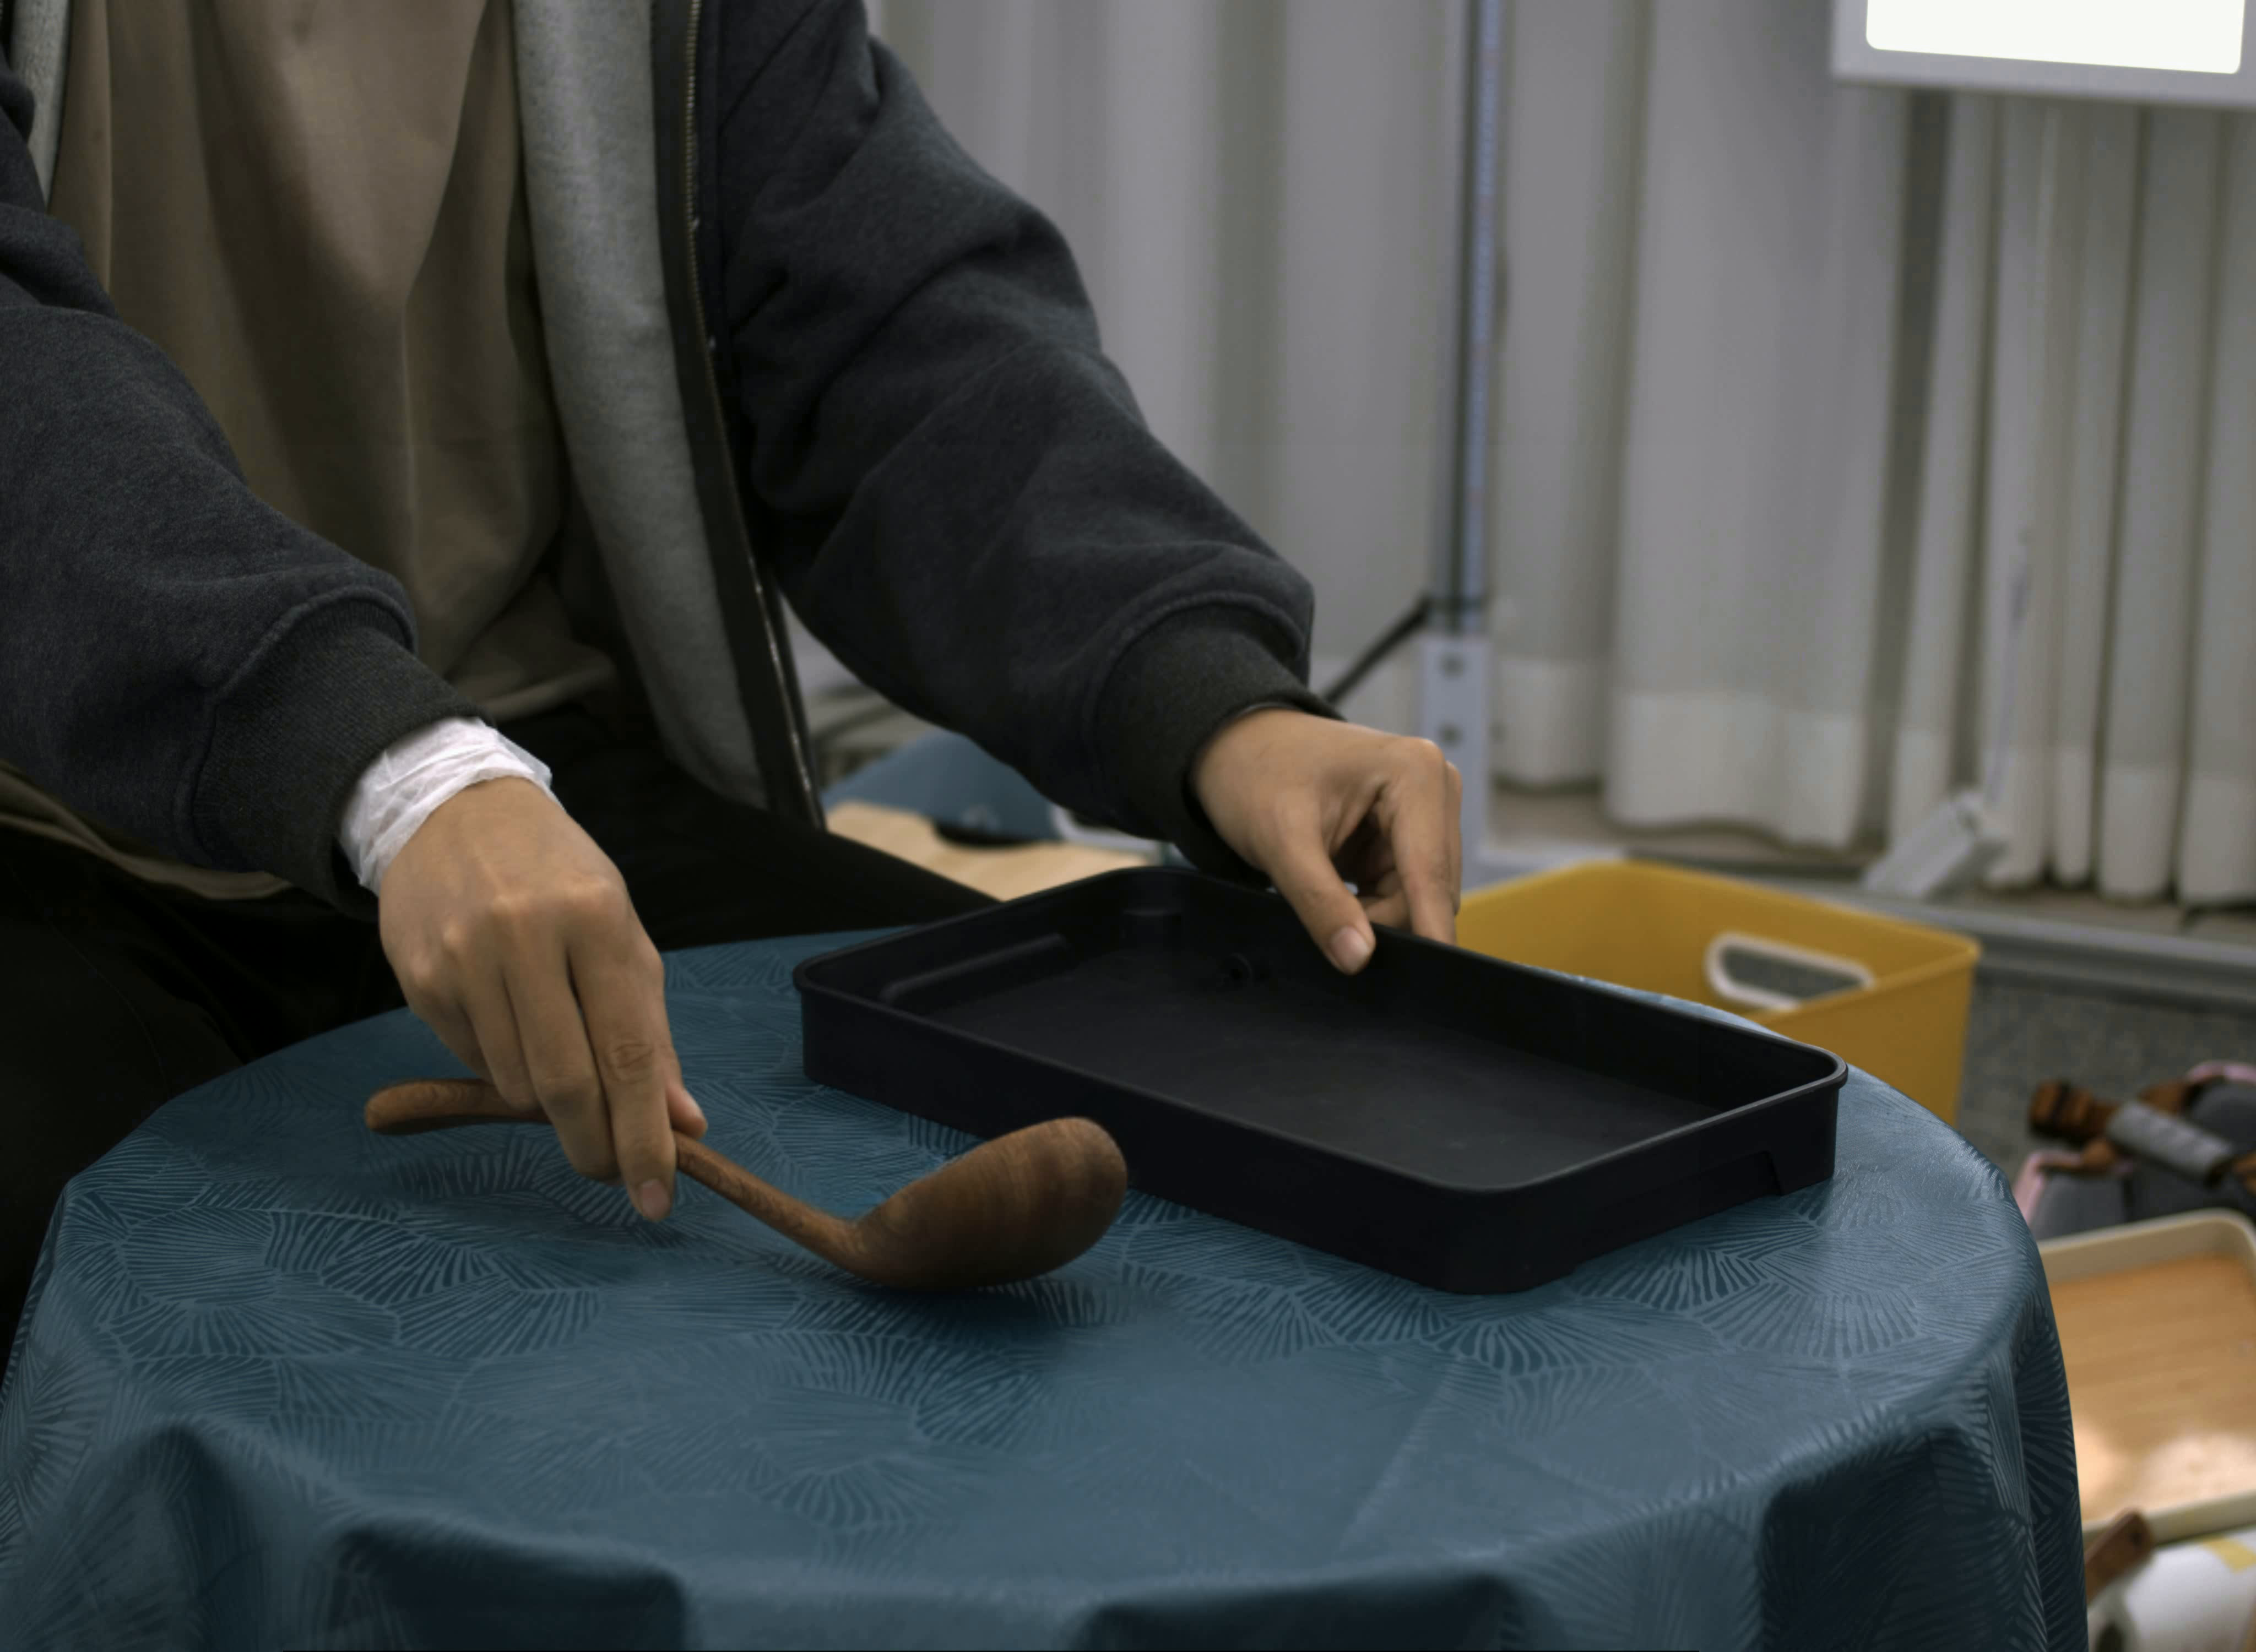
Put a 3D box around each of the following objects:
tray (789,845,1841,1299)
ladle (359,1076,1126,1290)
[{"bbox_3d":[0.055,0.073,1.687,0.313,0.037,0.185,17,23,42],"label":"tray"},{"bbox_3d":[-0.118,0.089,1.562,0.257,0.065,0.077,13,-5,29],"label":"ladle"}]
